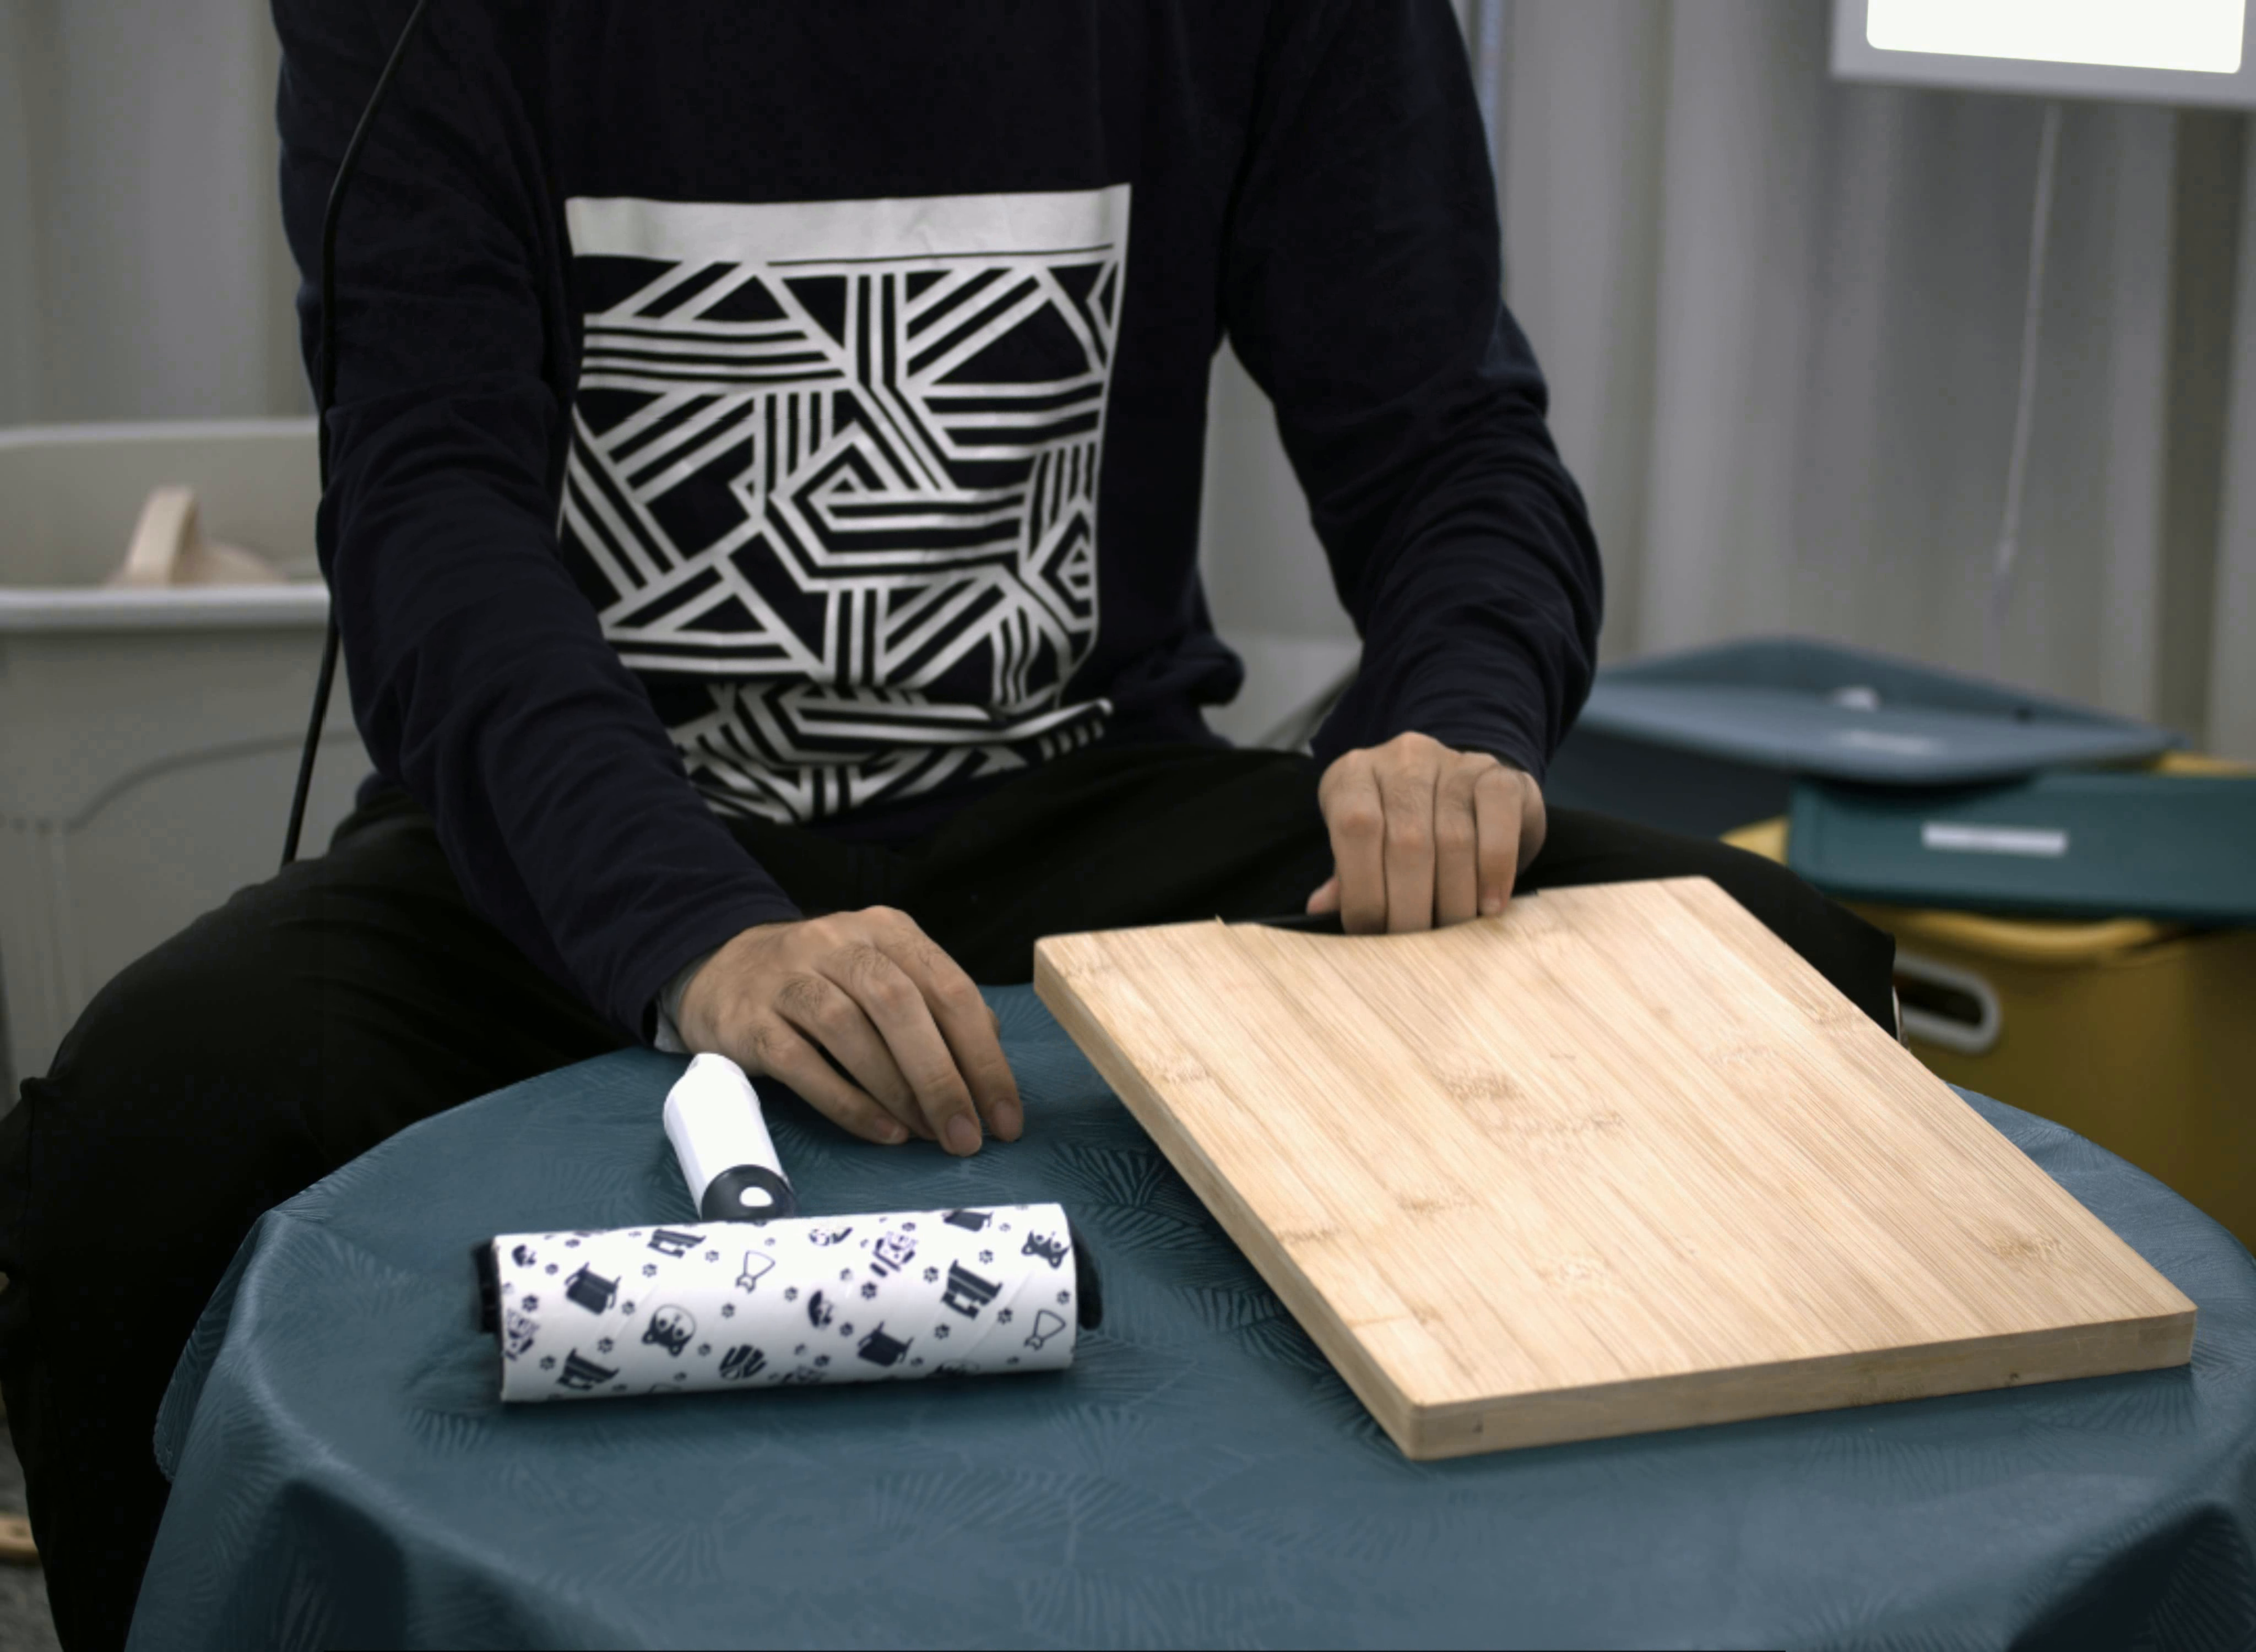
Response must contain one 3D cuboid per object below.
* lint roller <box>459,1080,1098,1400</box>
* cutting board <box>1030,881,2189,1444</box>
[{"bbox_3d":[-0.116,0.108,1.556,0.176,0.051,0.245,-4,14,-11],"label":"lint roller"},{"bbox_3d":[0.133,0.095,1.601,0.251,0.024,0.344,-4,22,-19],"label":"cutting board"}]
